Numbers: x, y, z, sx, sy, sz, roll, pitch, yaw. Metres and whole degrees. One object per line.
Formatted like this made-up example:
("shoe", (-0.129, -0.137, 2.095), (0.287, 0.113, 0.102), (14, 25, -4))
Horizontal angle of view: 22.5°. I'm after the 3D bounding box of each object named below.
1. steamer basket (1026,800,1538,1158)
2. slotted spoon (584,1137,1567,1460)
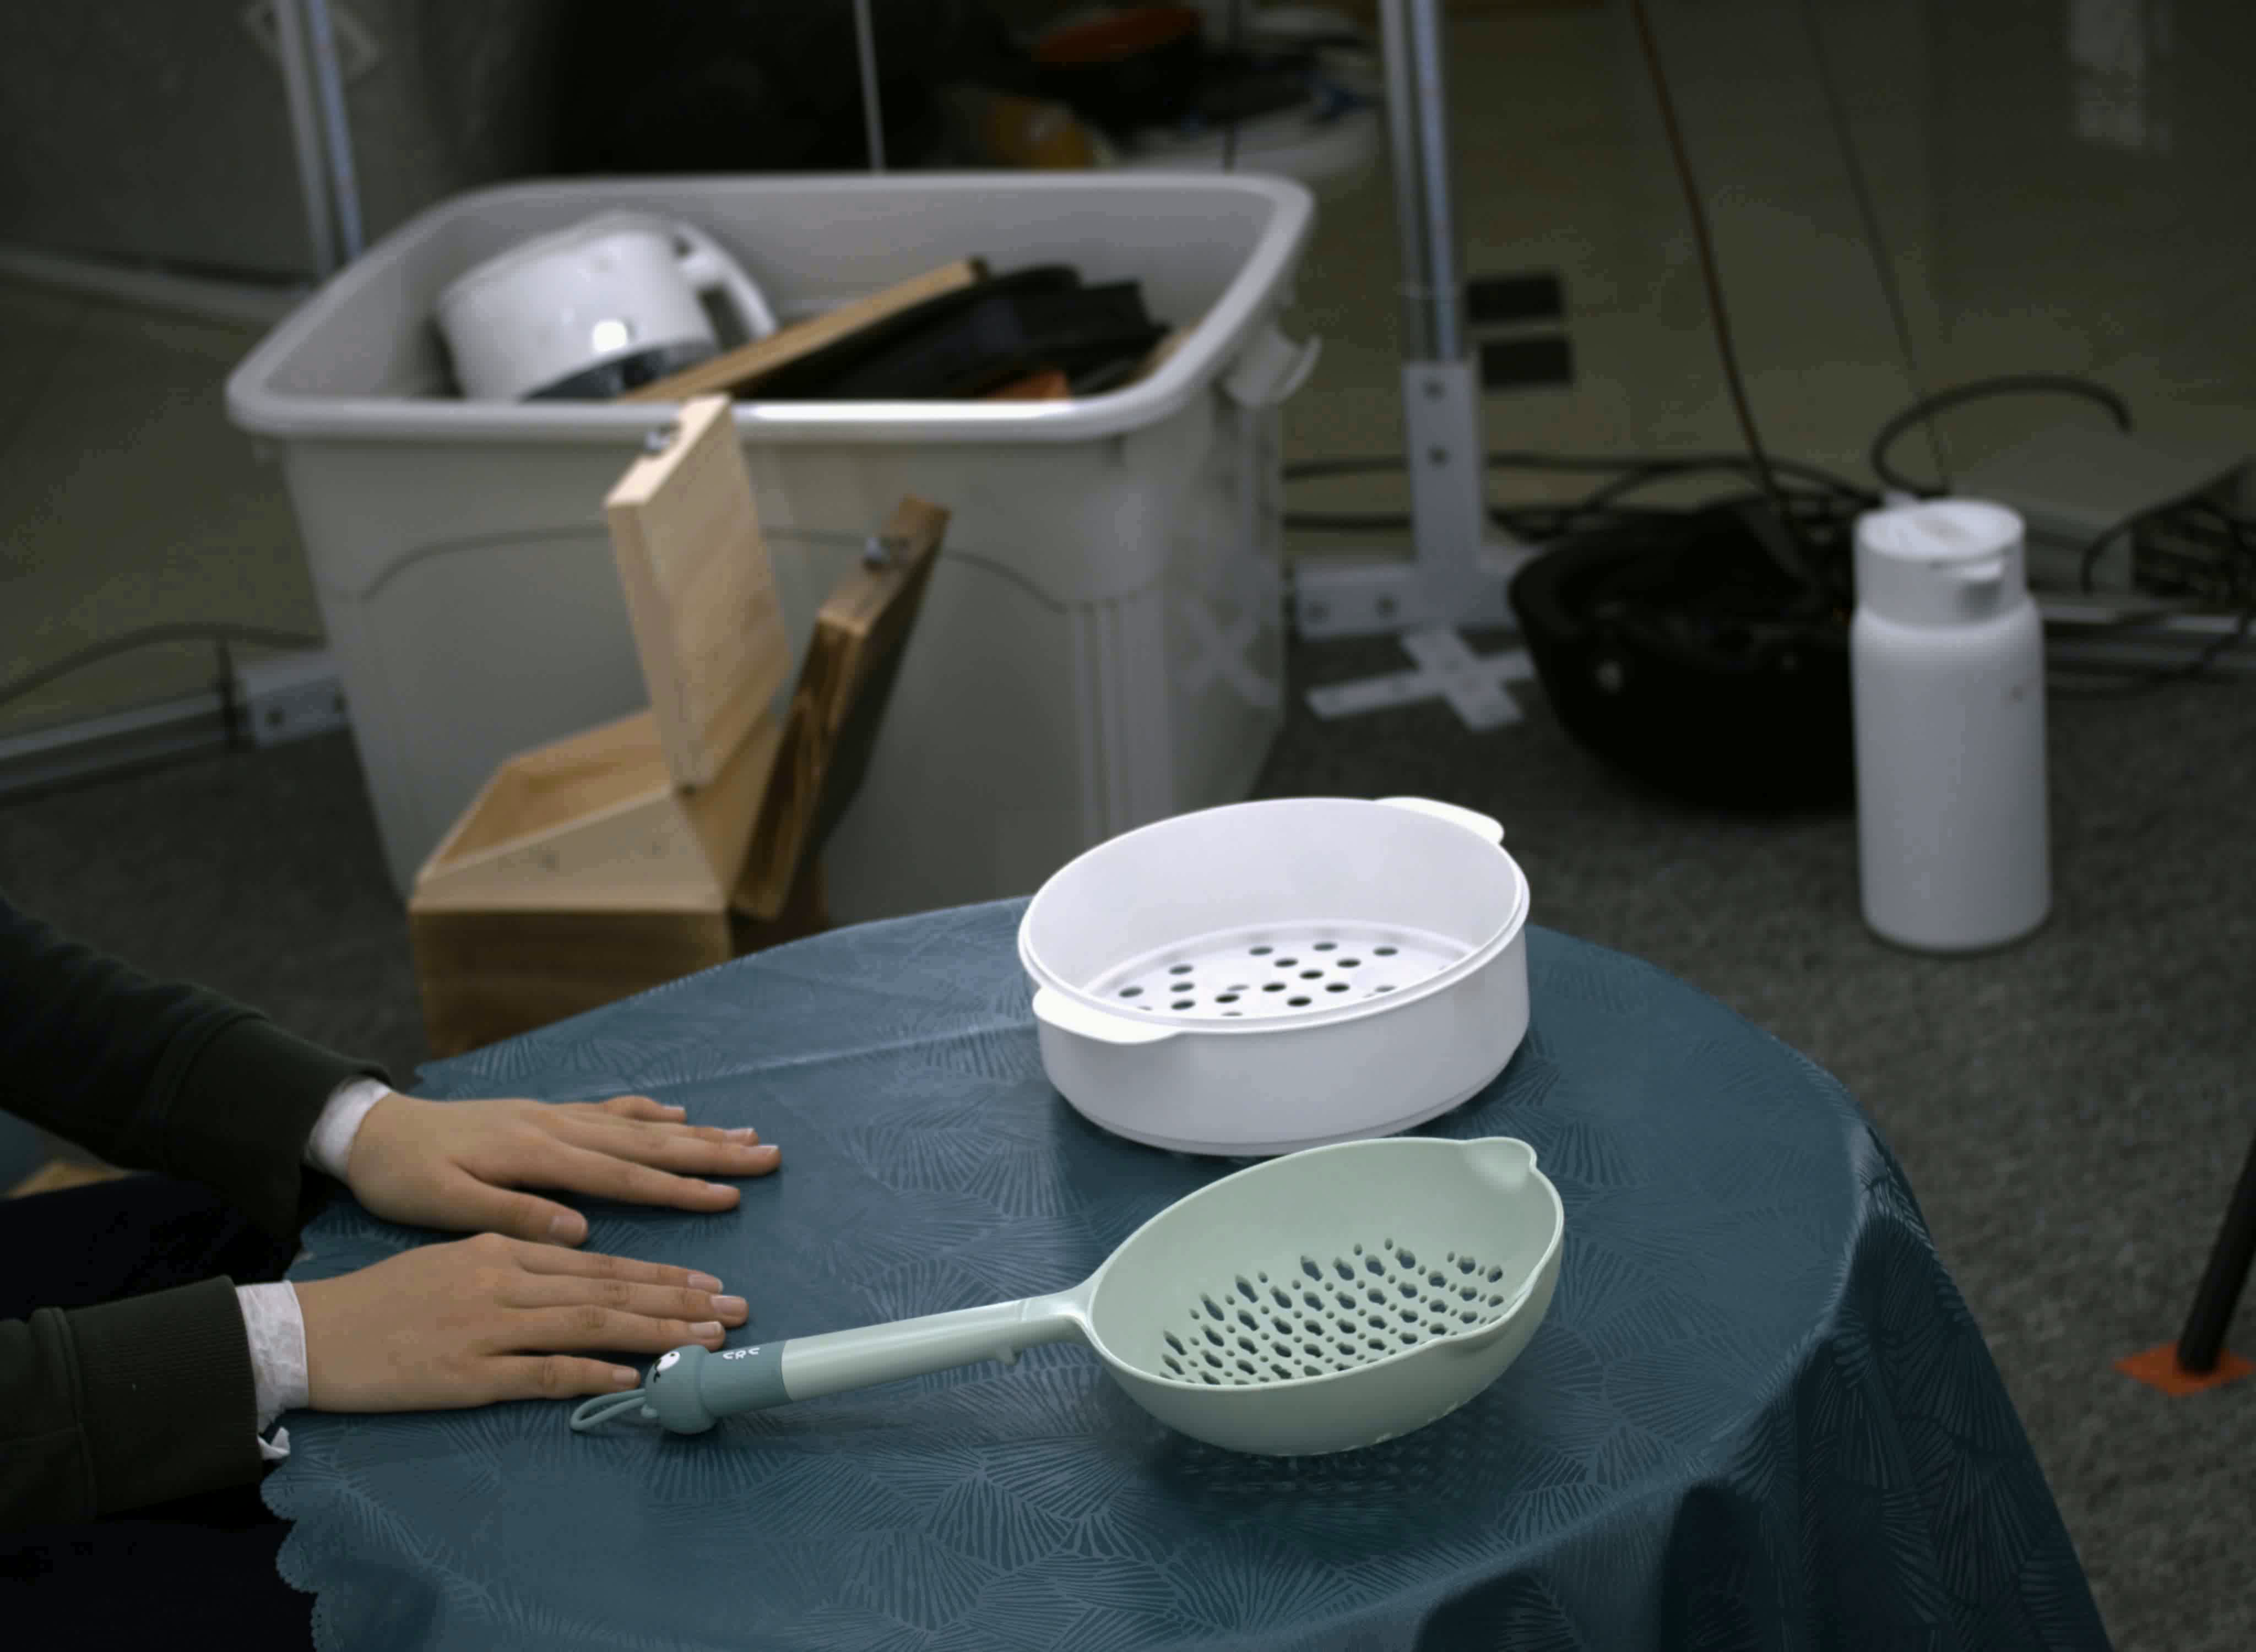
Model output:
("steamer basket", (0.063, 0.061, 2.228), (0.200, 0.070, 0.228), (14, 33, 40))
("slotted spoon", (-0.023, 0.179, 1.996), (0.358, 0.076, 0.167), (-2, 25, 9))
